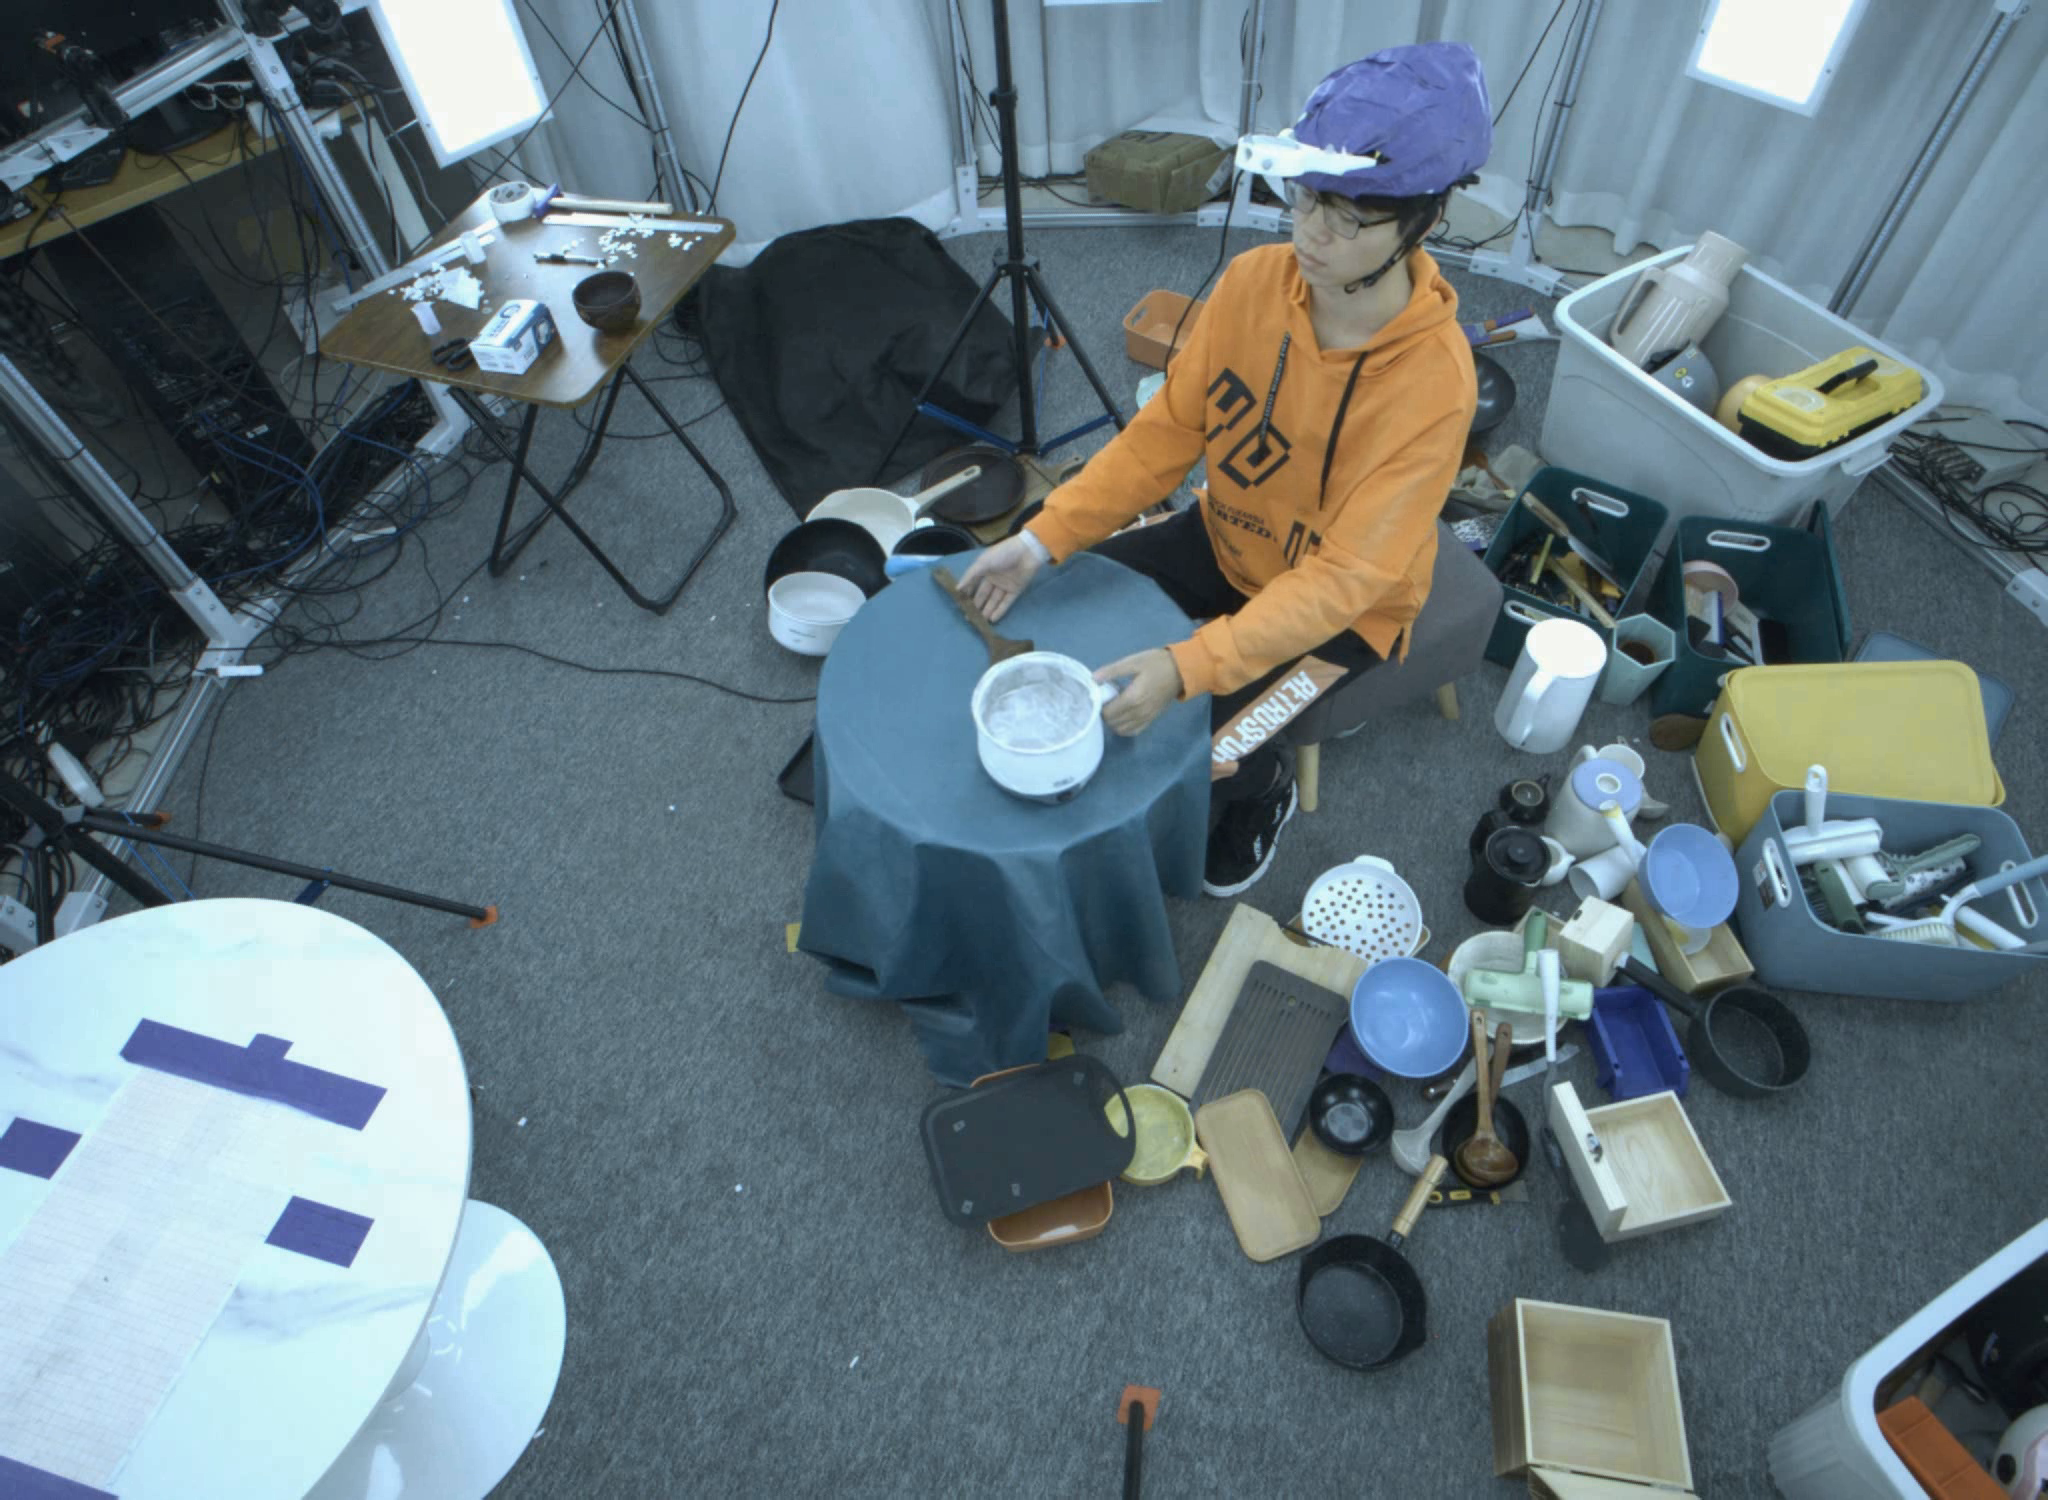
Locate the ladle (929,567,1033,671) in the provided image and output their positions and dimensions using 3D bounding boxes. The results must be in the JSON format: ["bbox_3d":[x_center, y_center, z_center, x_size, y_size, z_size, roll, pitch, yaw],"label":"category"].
[{"bbox_3d":[-0.078,-0.217,1.899,0.076,0.072,0.269,-32,61,-11],"label":"ladle"}]

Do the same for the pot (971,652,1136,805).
[{"bbox_3d":[0.047,-0.038,1.728,0.235,0.138,0.175,-21,57,-11],"label":"pot"}]
